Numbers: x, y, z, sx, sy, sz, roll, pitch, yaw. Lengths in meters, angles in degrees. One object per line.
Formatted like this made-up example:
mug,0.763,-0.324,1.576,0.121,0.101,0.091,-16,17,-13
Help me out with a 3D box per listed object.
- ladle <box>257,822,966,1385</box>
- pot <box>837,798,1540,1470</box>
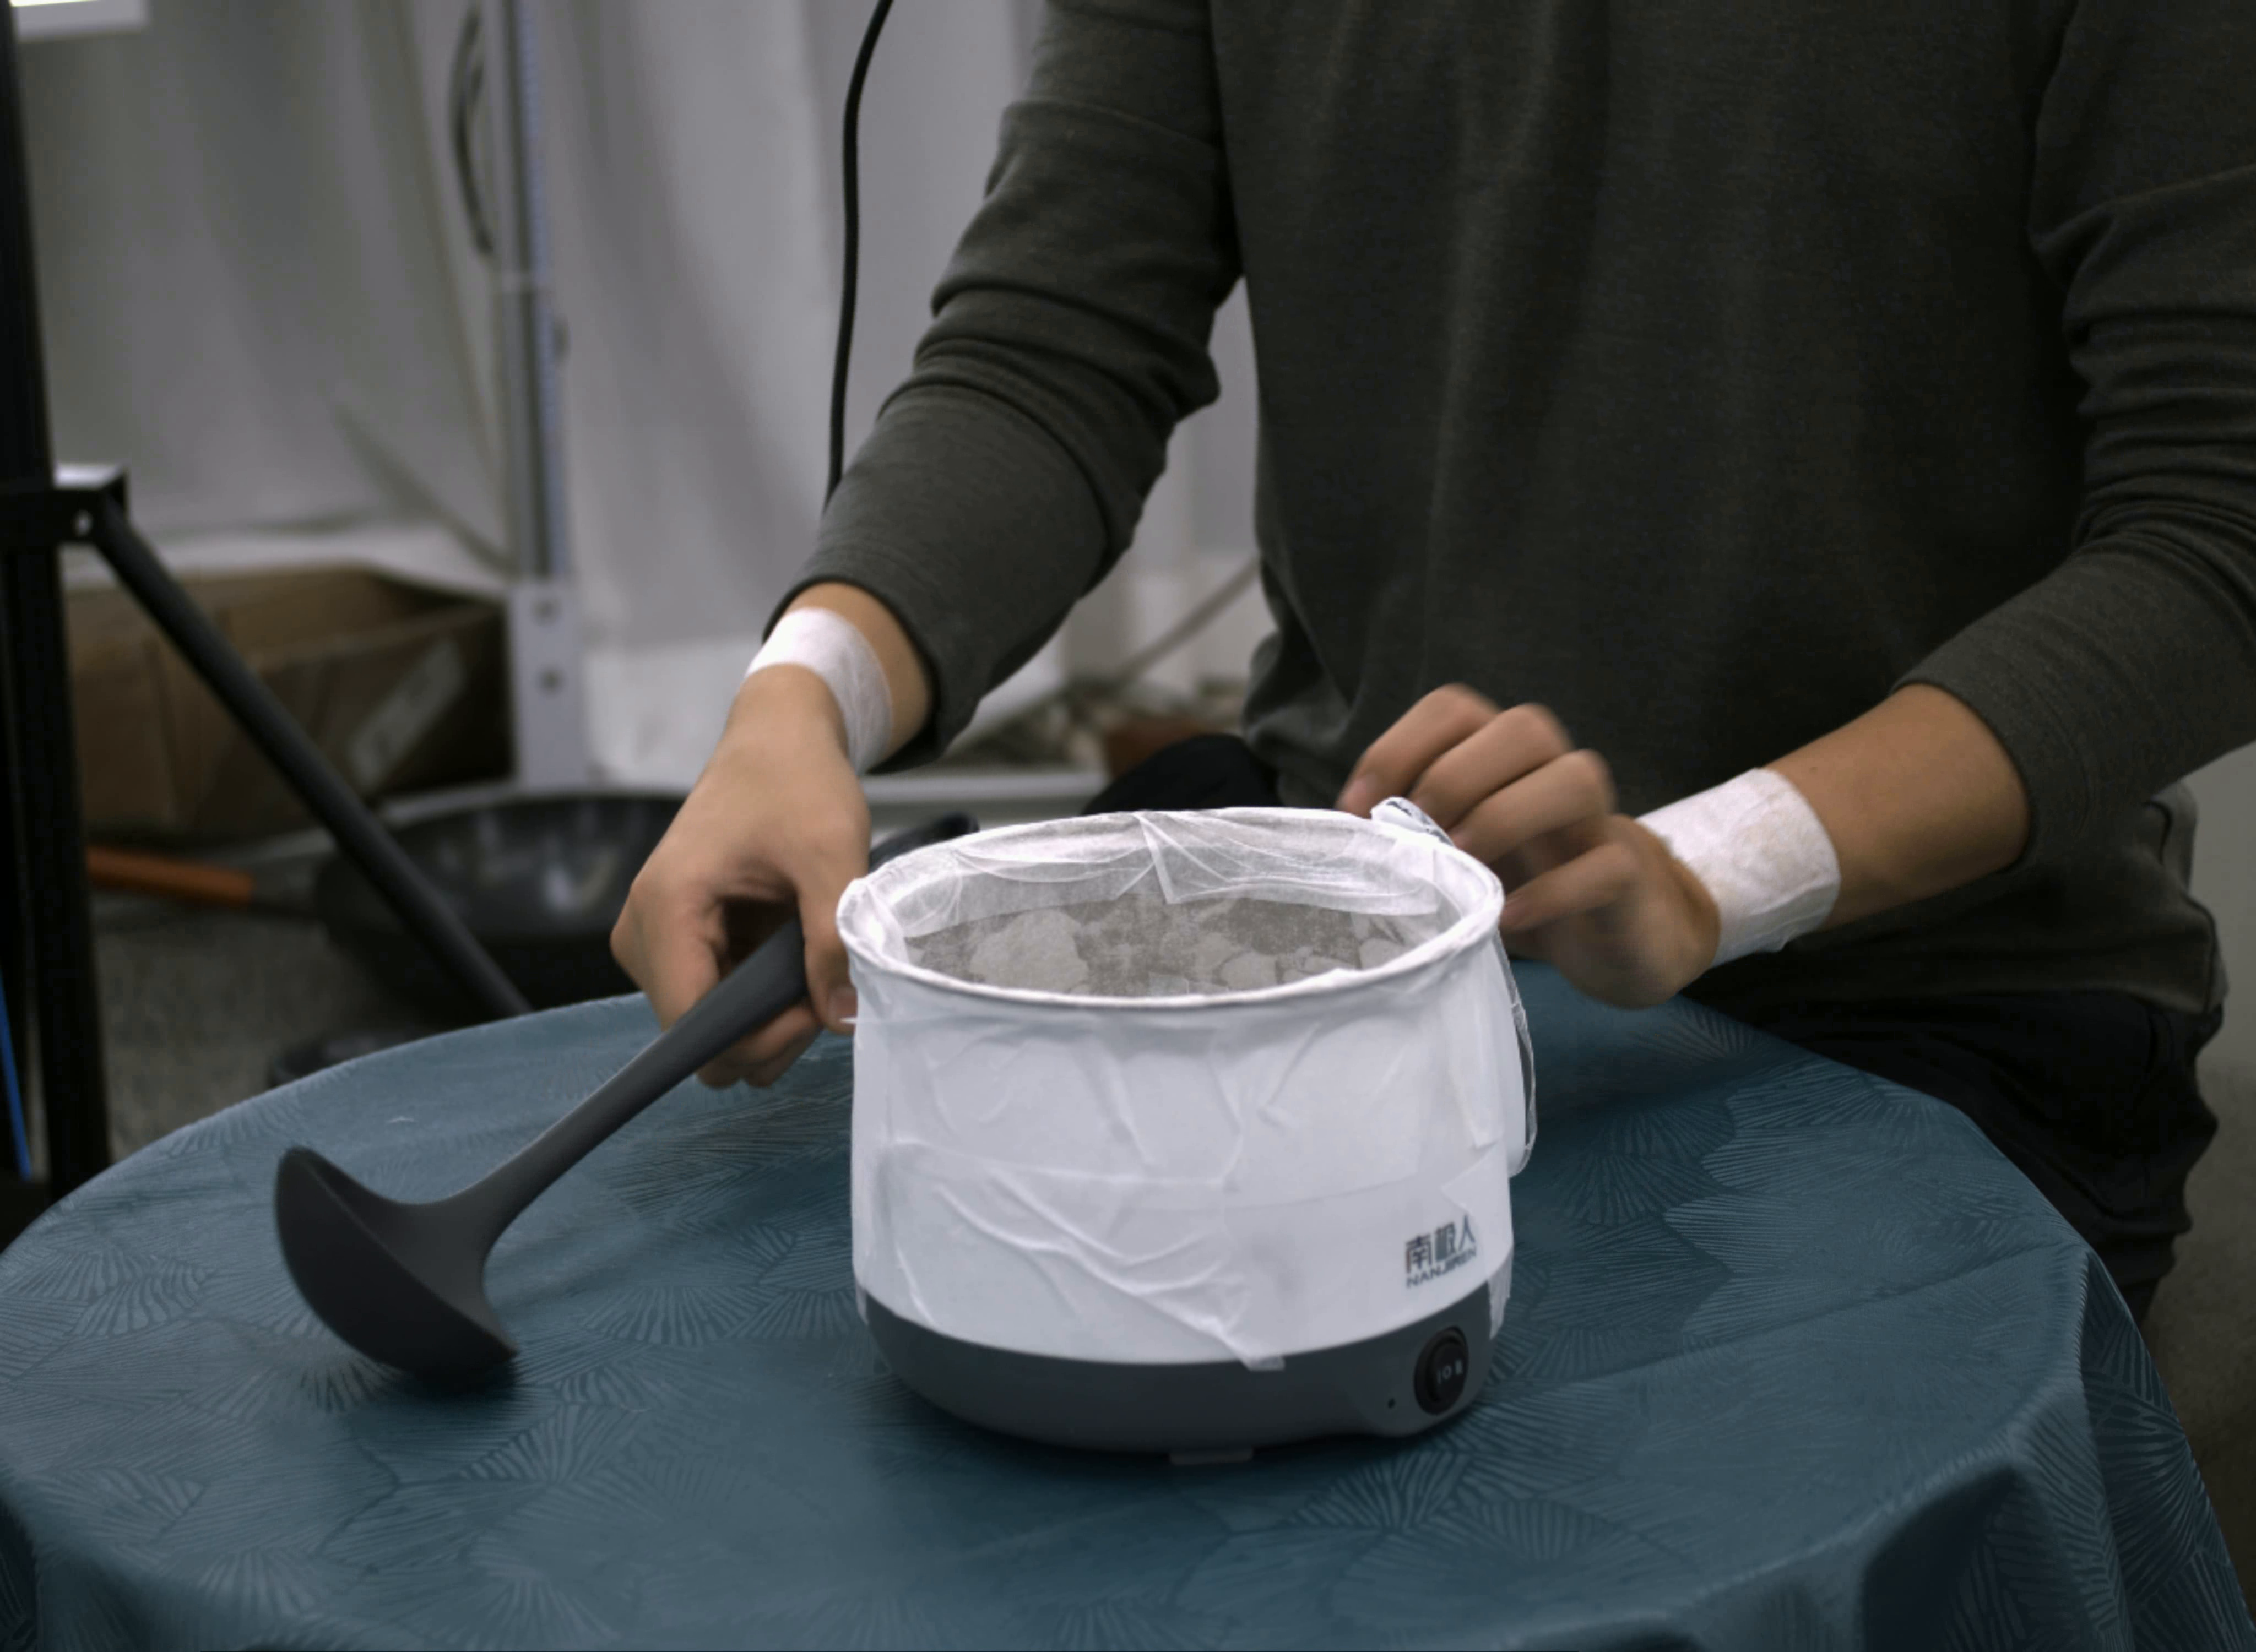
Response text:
ladle,-0.131,0.061,1.528,0.309,0.086,0.064,-38,-7,-43
pot,0.031,0.074,1.427,0.182,0.136,0.228,11,20,39
